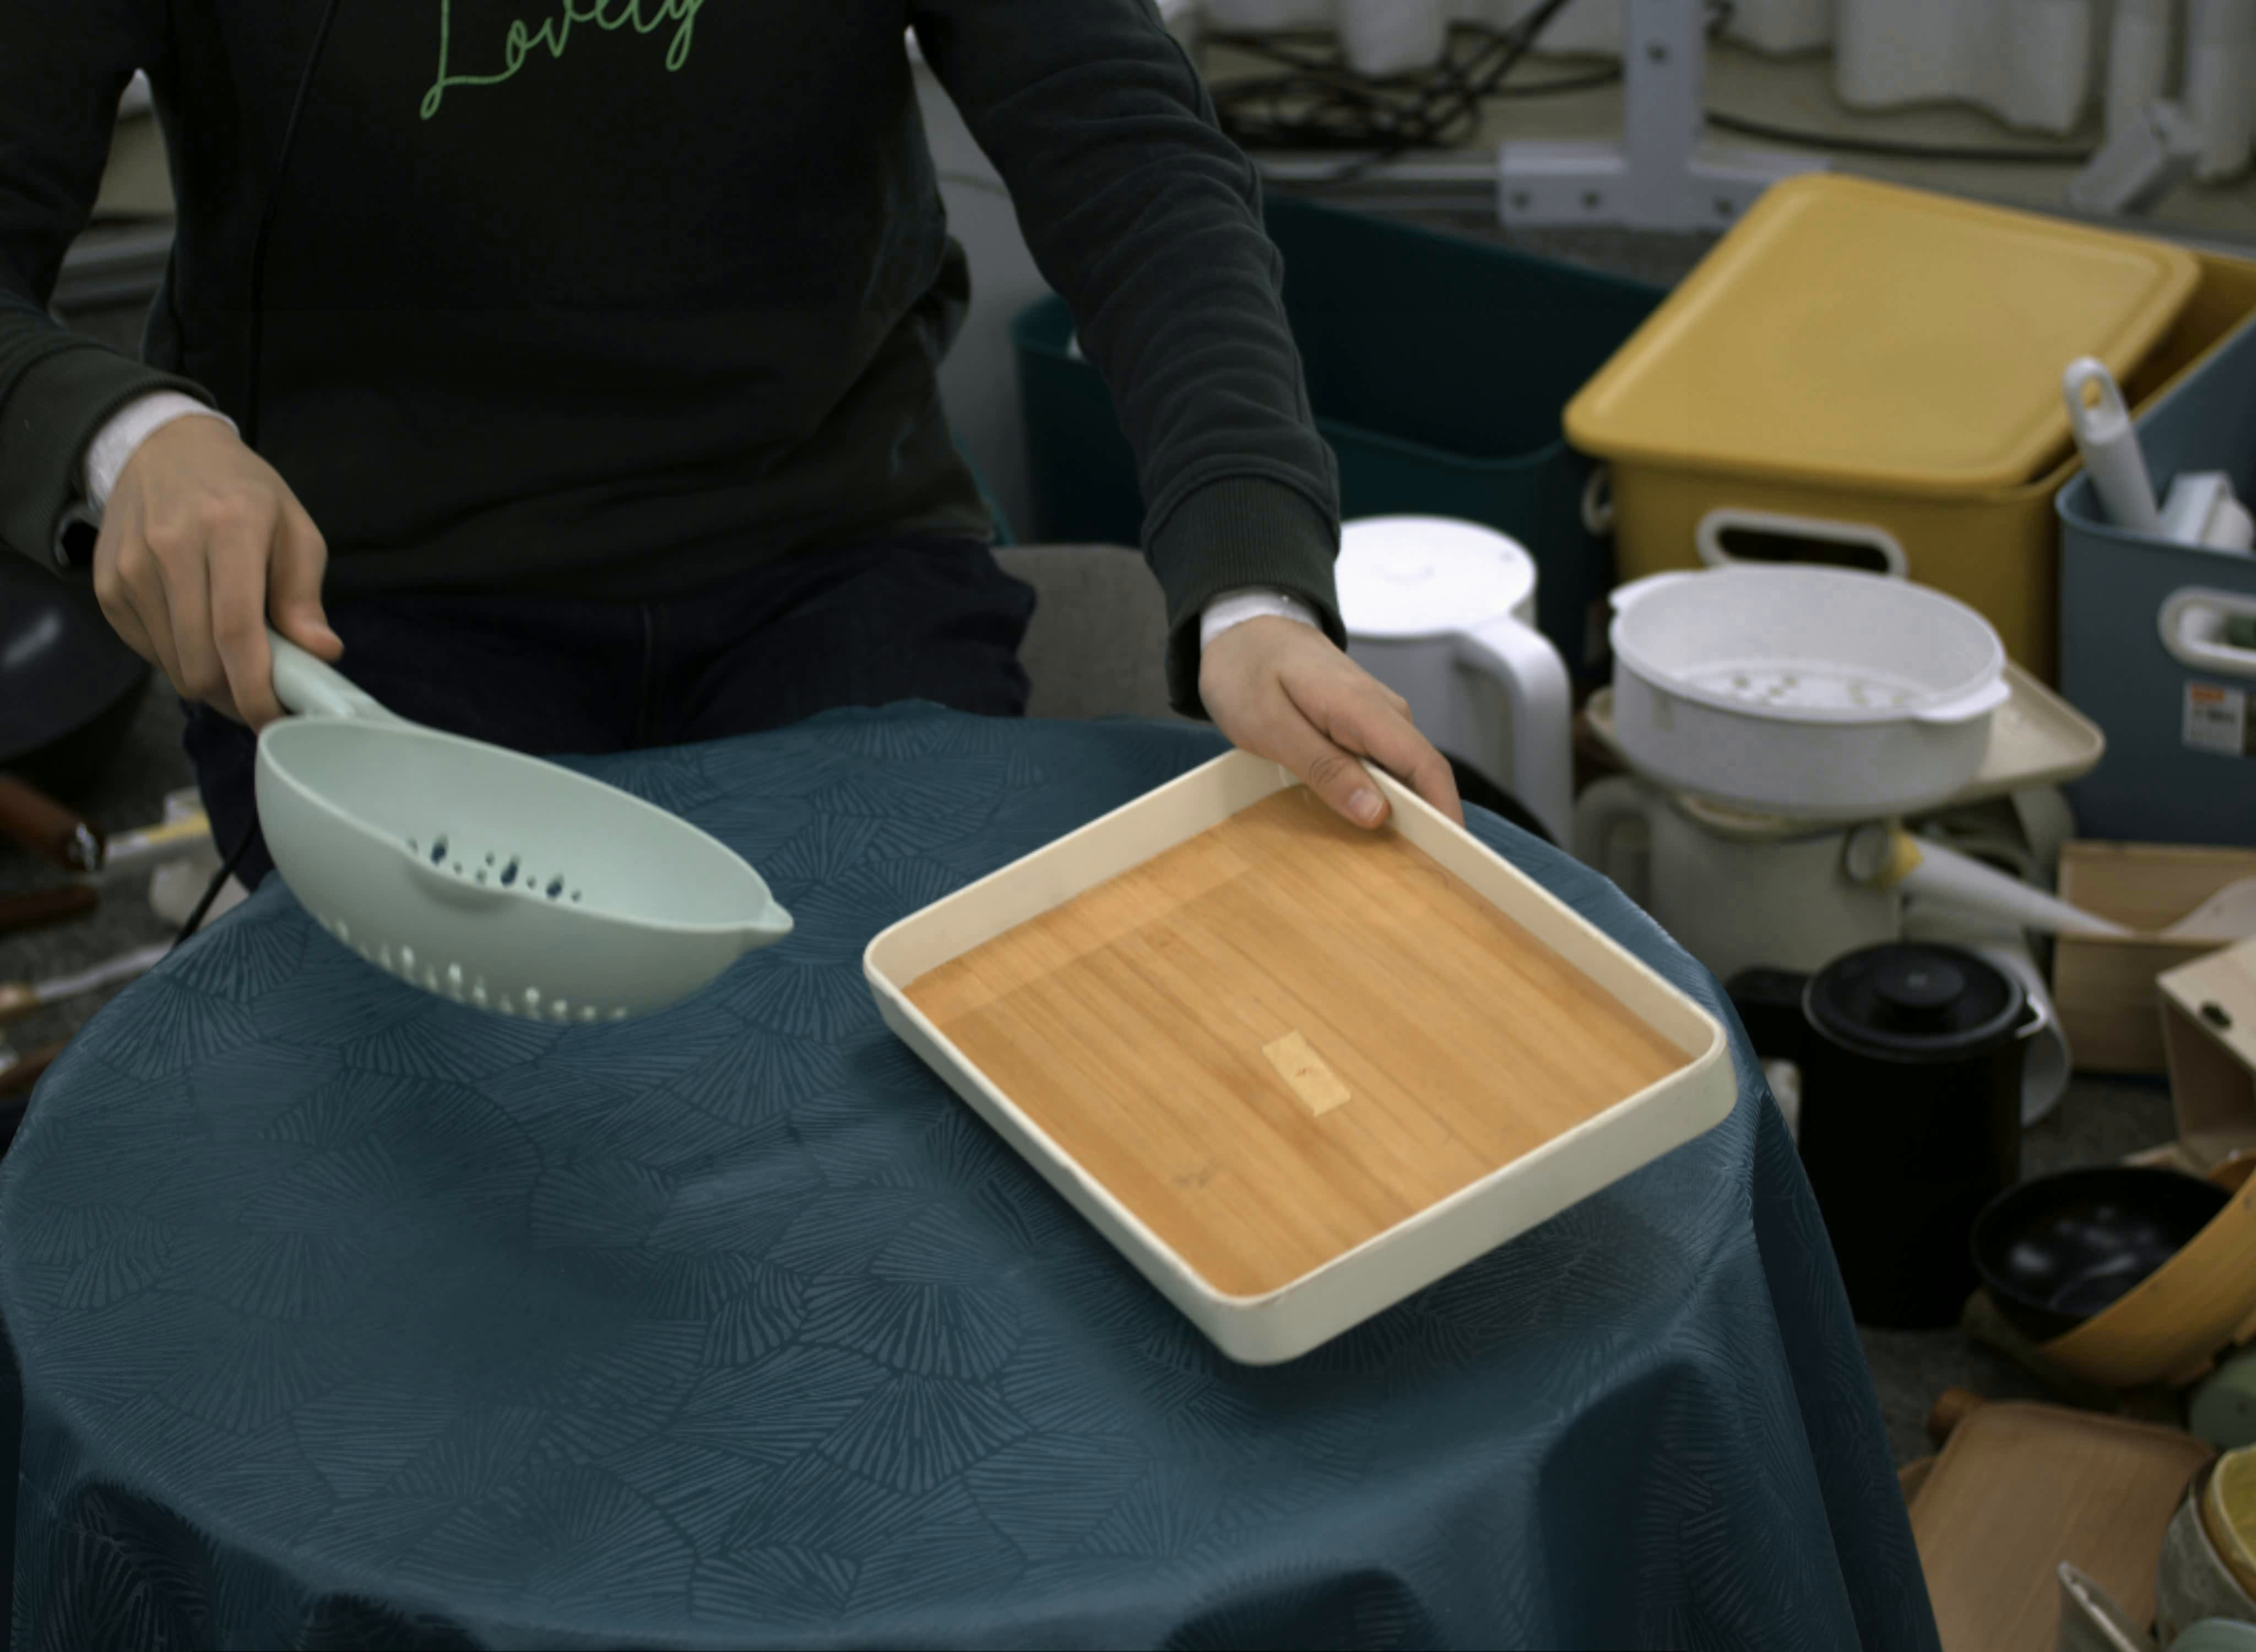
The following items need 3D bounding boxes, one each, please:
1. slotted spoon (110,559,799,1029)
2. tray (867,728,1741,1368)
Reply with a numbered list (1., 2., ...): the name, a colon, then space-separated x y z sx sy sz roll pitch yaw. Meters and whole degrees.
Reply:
1. slotted spoon: -0.249 -0.025 1.839 0.169 0.075 0.361 12 22 -40
2. tray: 0.052 0.067 1.859 0.192 0.027 0.302 -27 31 -15
